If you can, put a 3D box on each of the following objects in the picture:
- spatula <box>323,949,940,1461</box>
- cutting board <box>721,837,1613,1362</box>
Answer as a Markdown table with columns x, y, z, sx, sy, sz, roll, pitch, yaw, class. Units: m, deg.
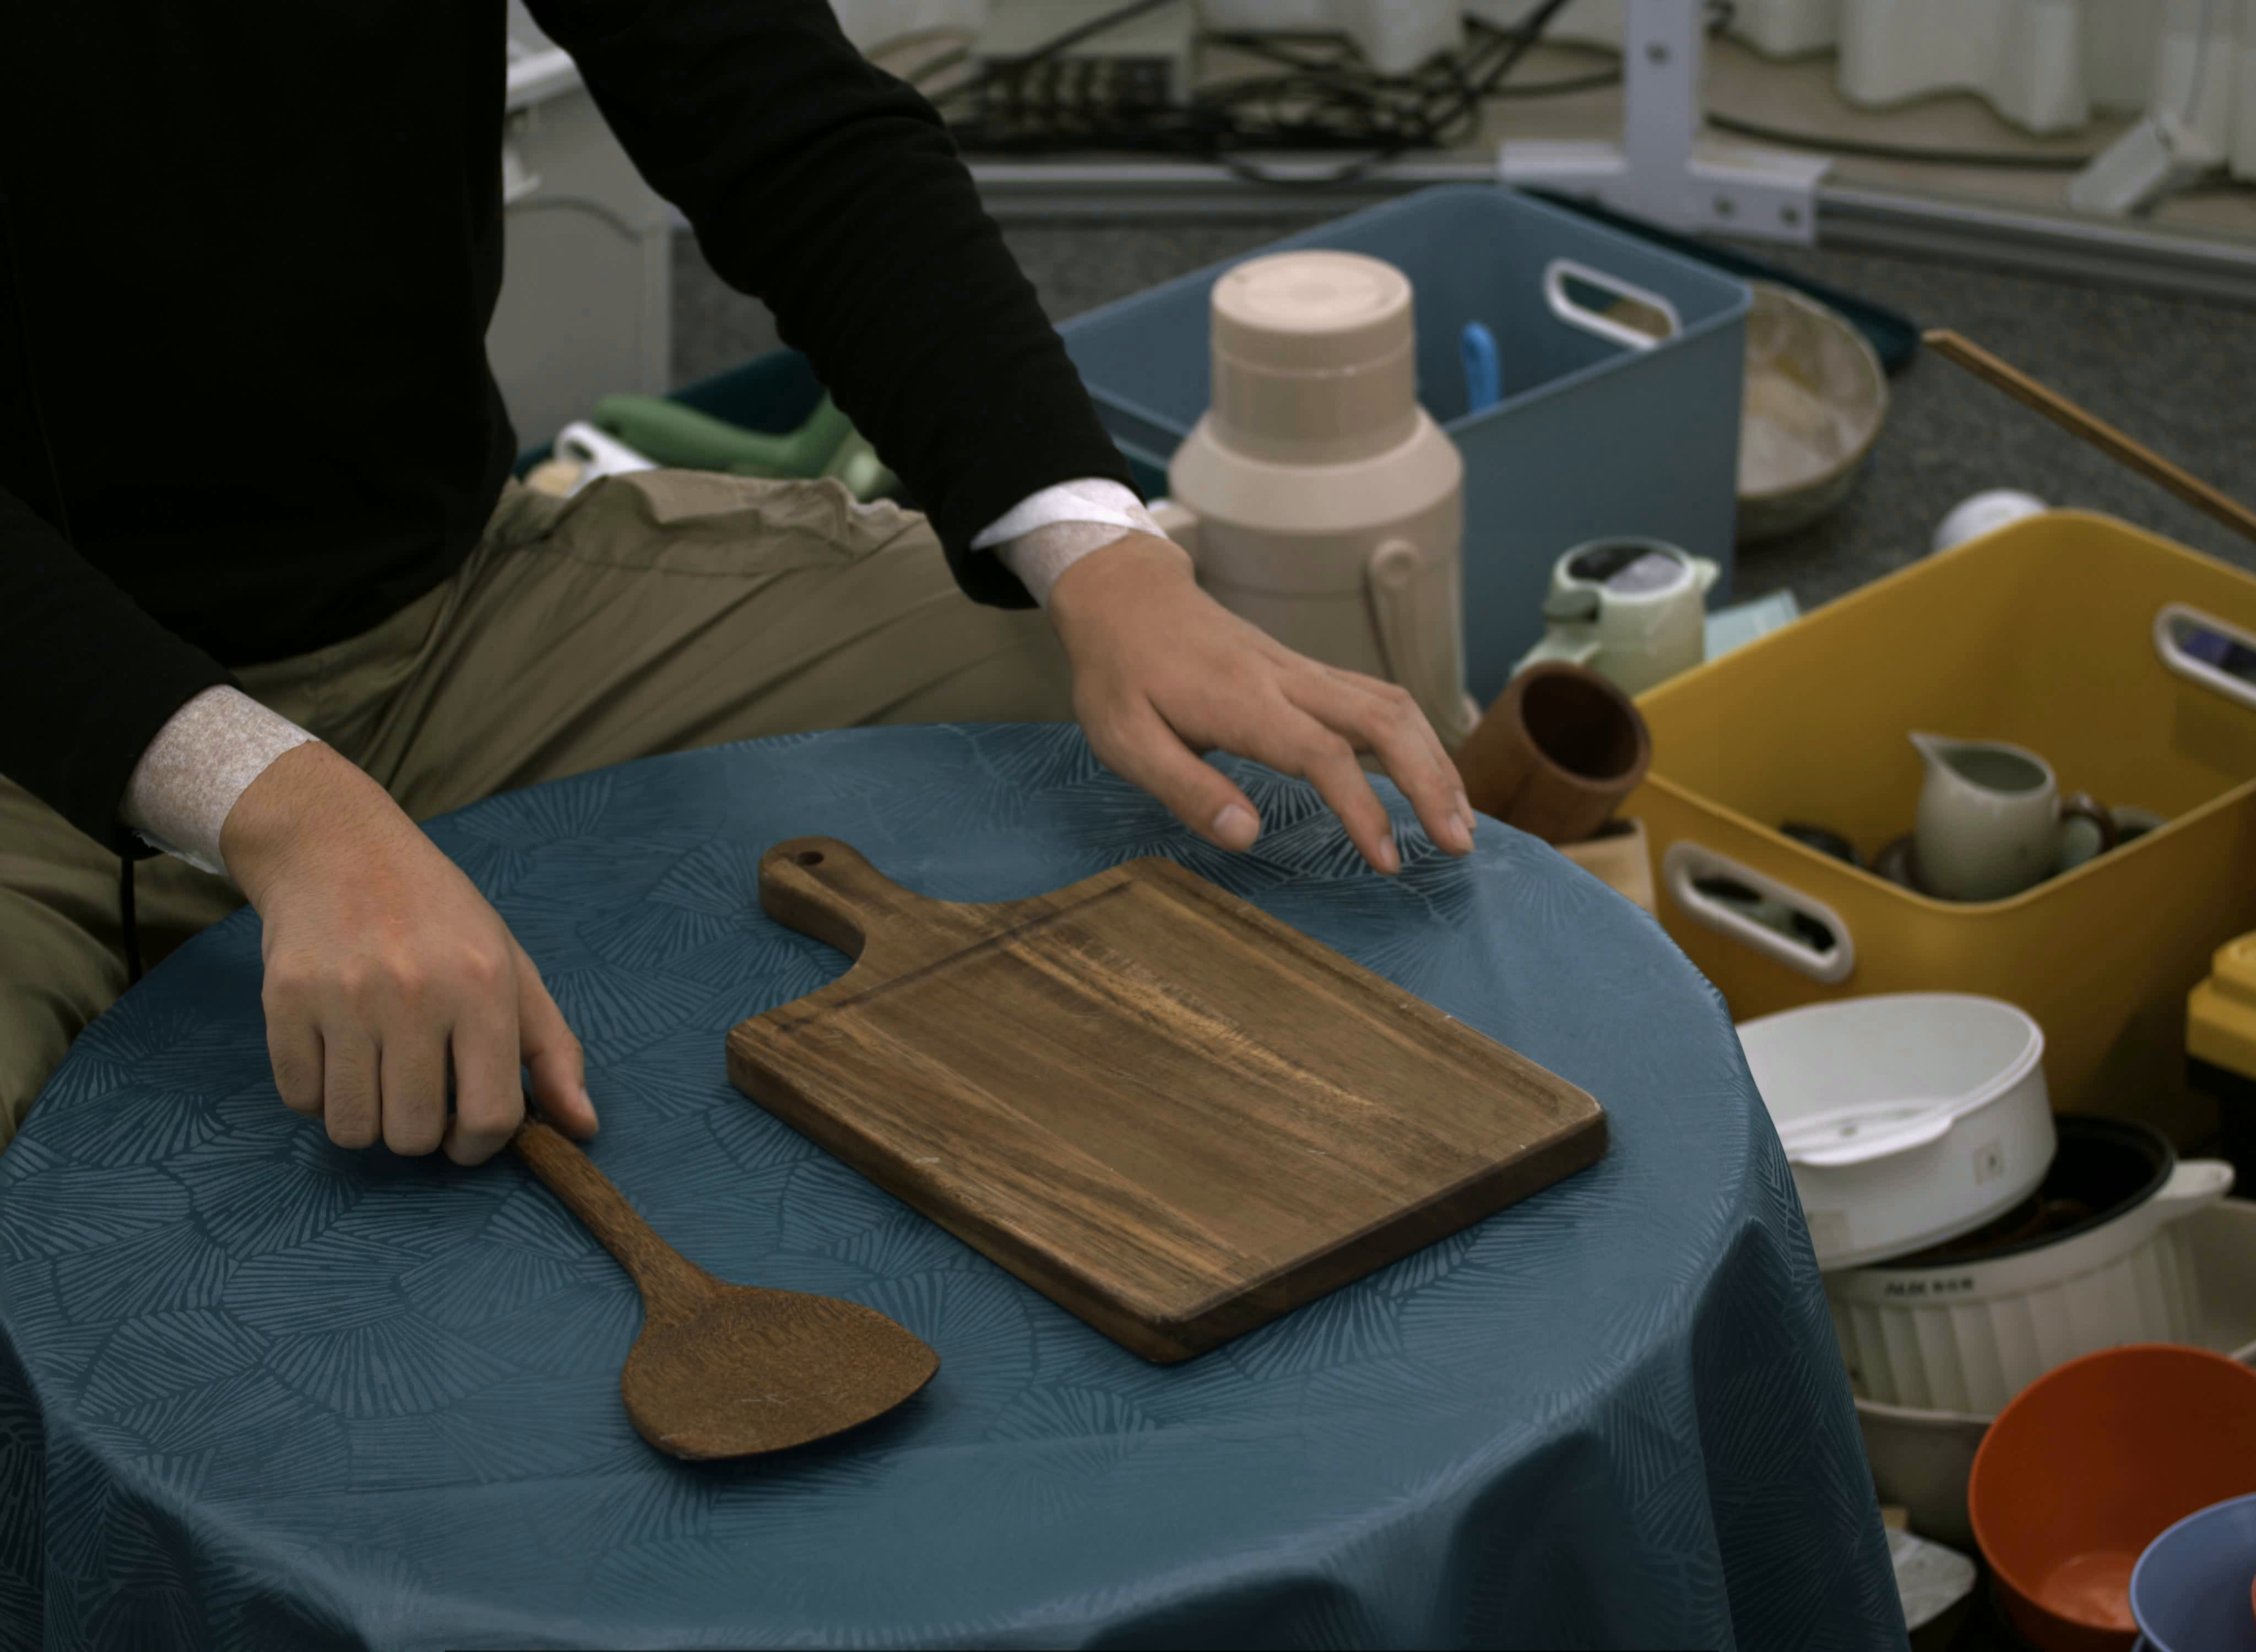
| x | y | z | sx | sy | sz | roll | pitch | yaw | class |
| --- | --- | --- | --- | --- | --- | --- | --- | --- | --- |
| -0.186 | 0.117 | 1.872 | 0.097 | 0.015 | 0.387 | -17 | 30 | -25 | spatula |
| -0.020 | 0.073 | 1.935 | 0.203 | 0.023 | 0.352 | -22 | 33 | -33 | cutting board |
